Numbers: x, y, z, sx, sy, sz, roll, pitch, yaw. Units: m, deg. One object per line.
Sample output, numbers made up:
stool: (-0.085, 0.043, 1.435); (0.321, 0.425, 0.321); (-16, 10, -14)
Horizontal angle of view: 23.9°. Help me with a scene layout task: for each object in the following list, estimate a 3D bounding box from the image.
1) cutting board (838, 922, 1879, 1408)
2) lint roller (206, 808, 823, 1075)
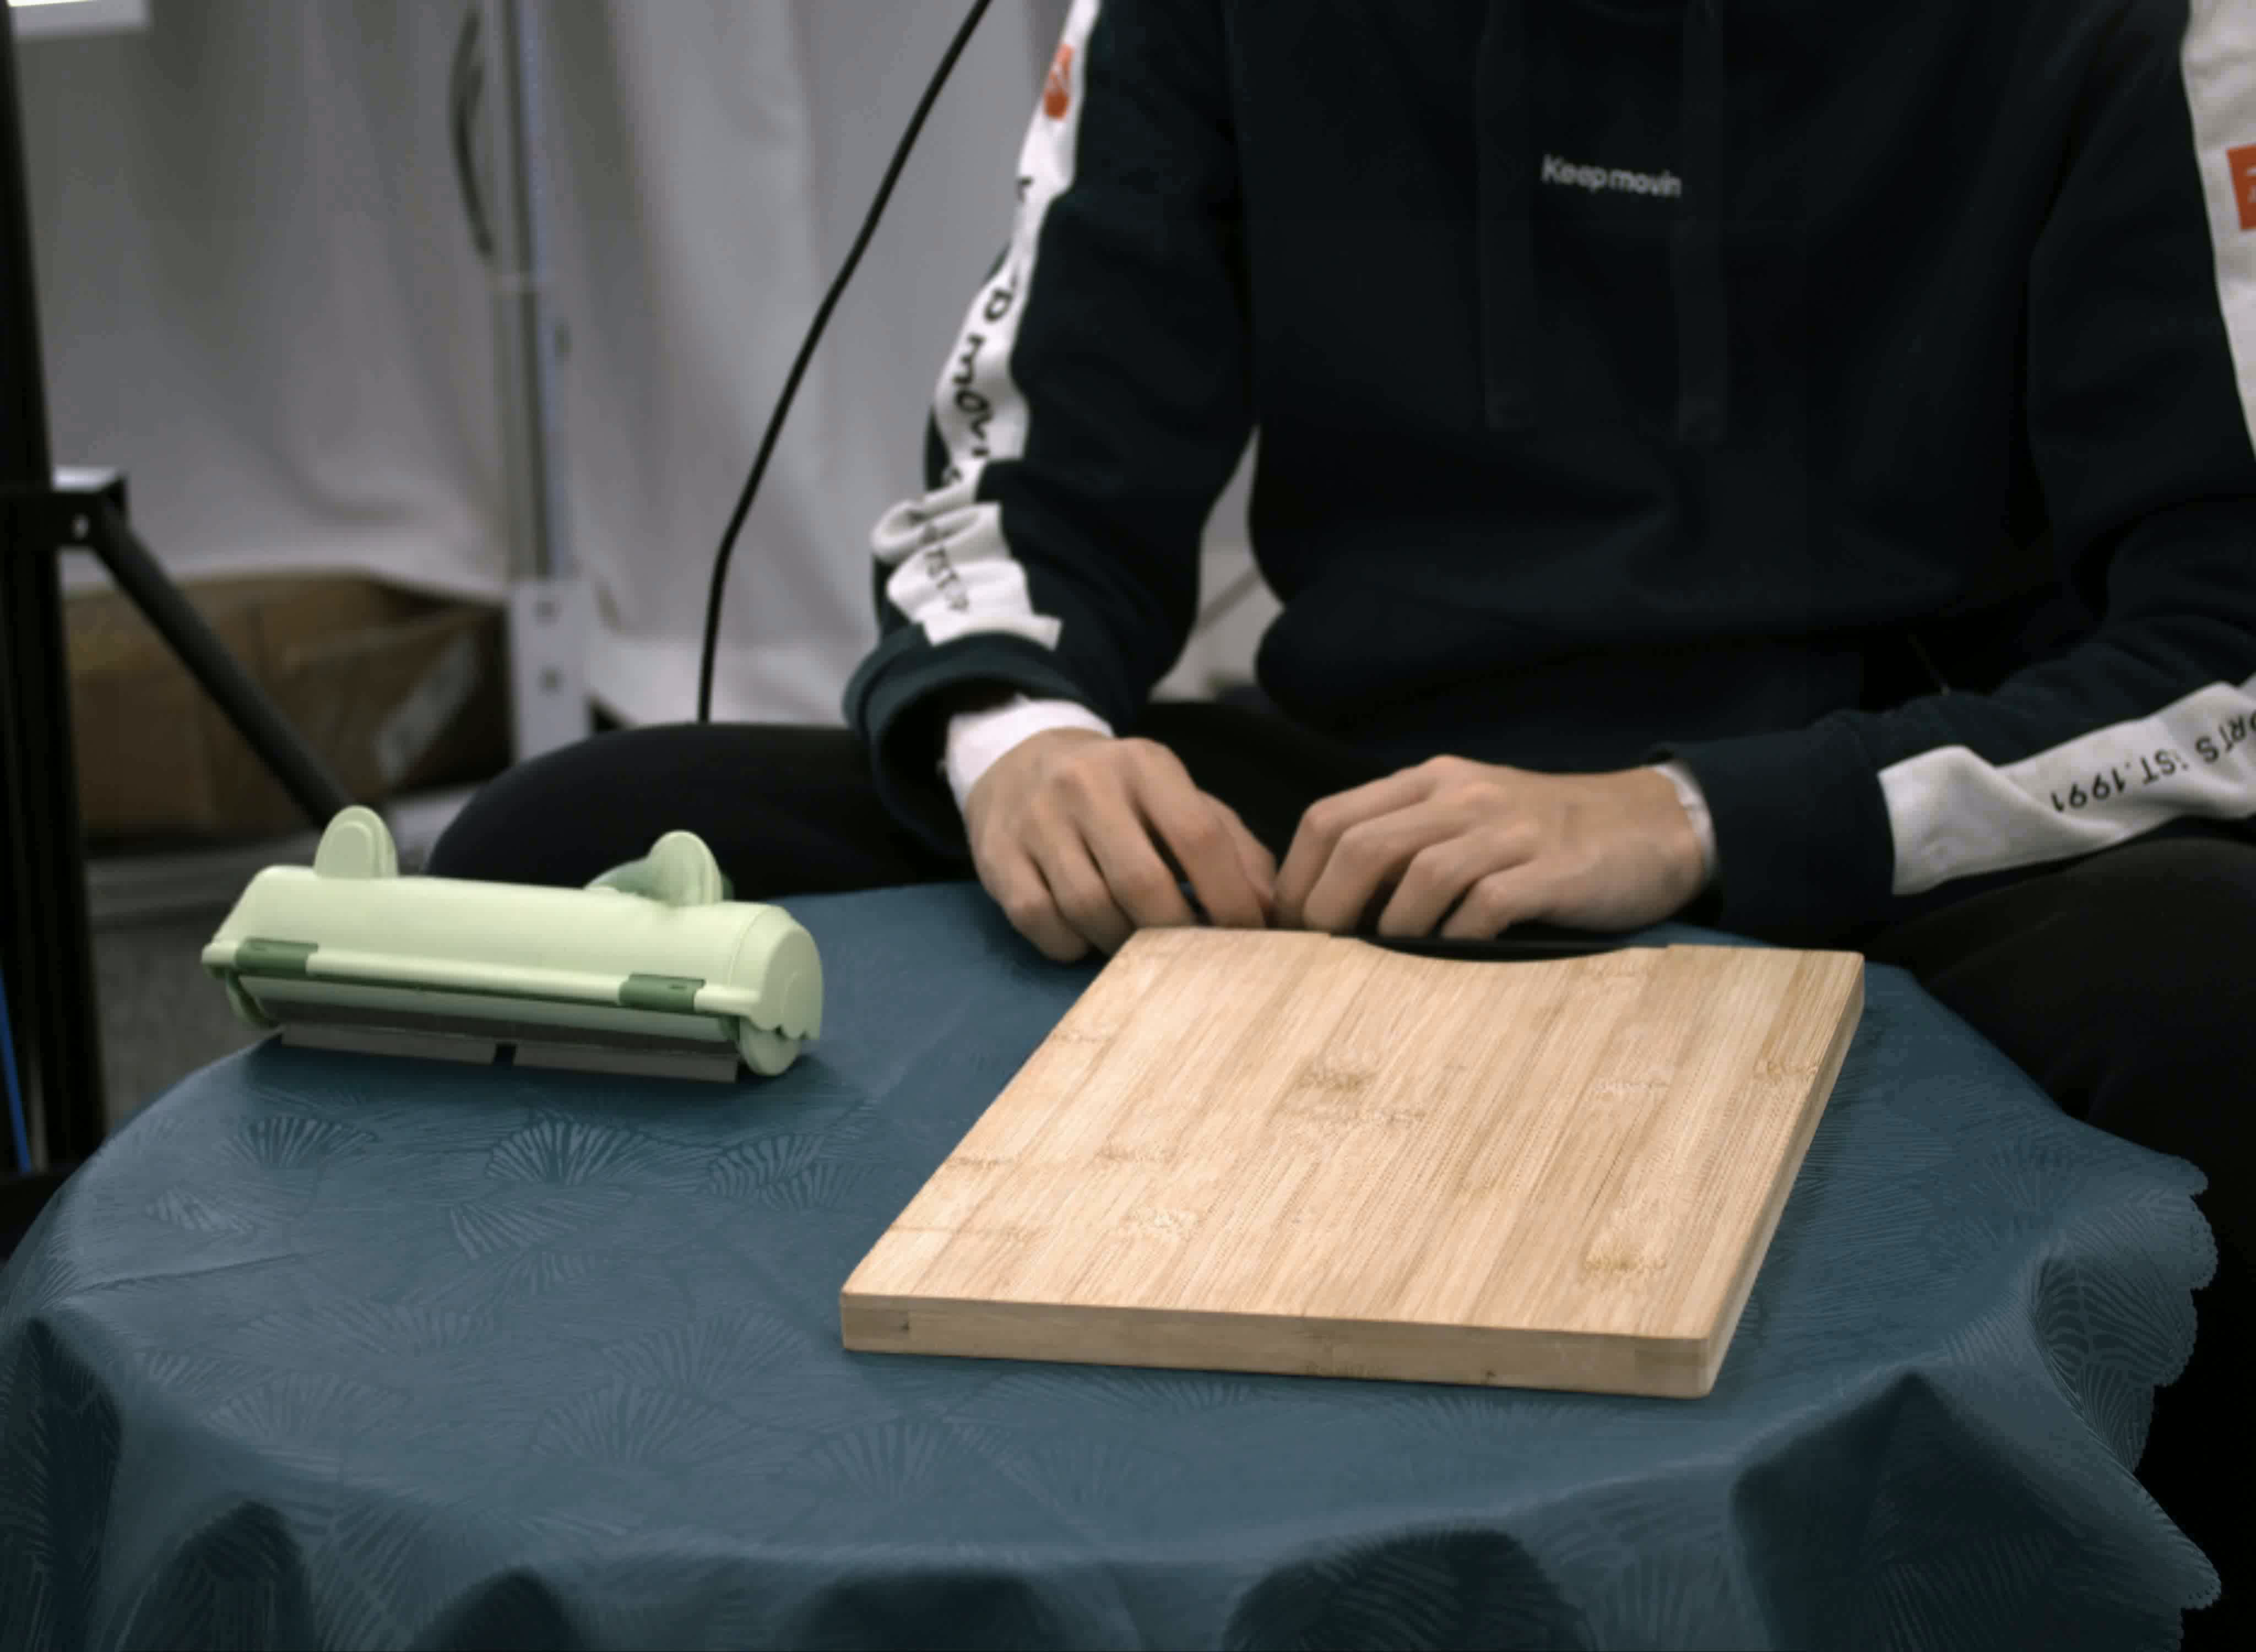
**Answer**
cutting board: (0.080, 0.092, 1.570); (0.252, 0.023, 0.346); (2, 17, 15)
lint roller: (-0.176, 0.021, 1.755); (0.201, 0.082, 0.181); (4, 21, 22)
